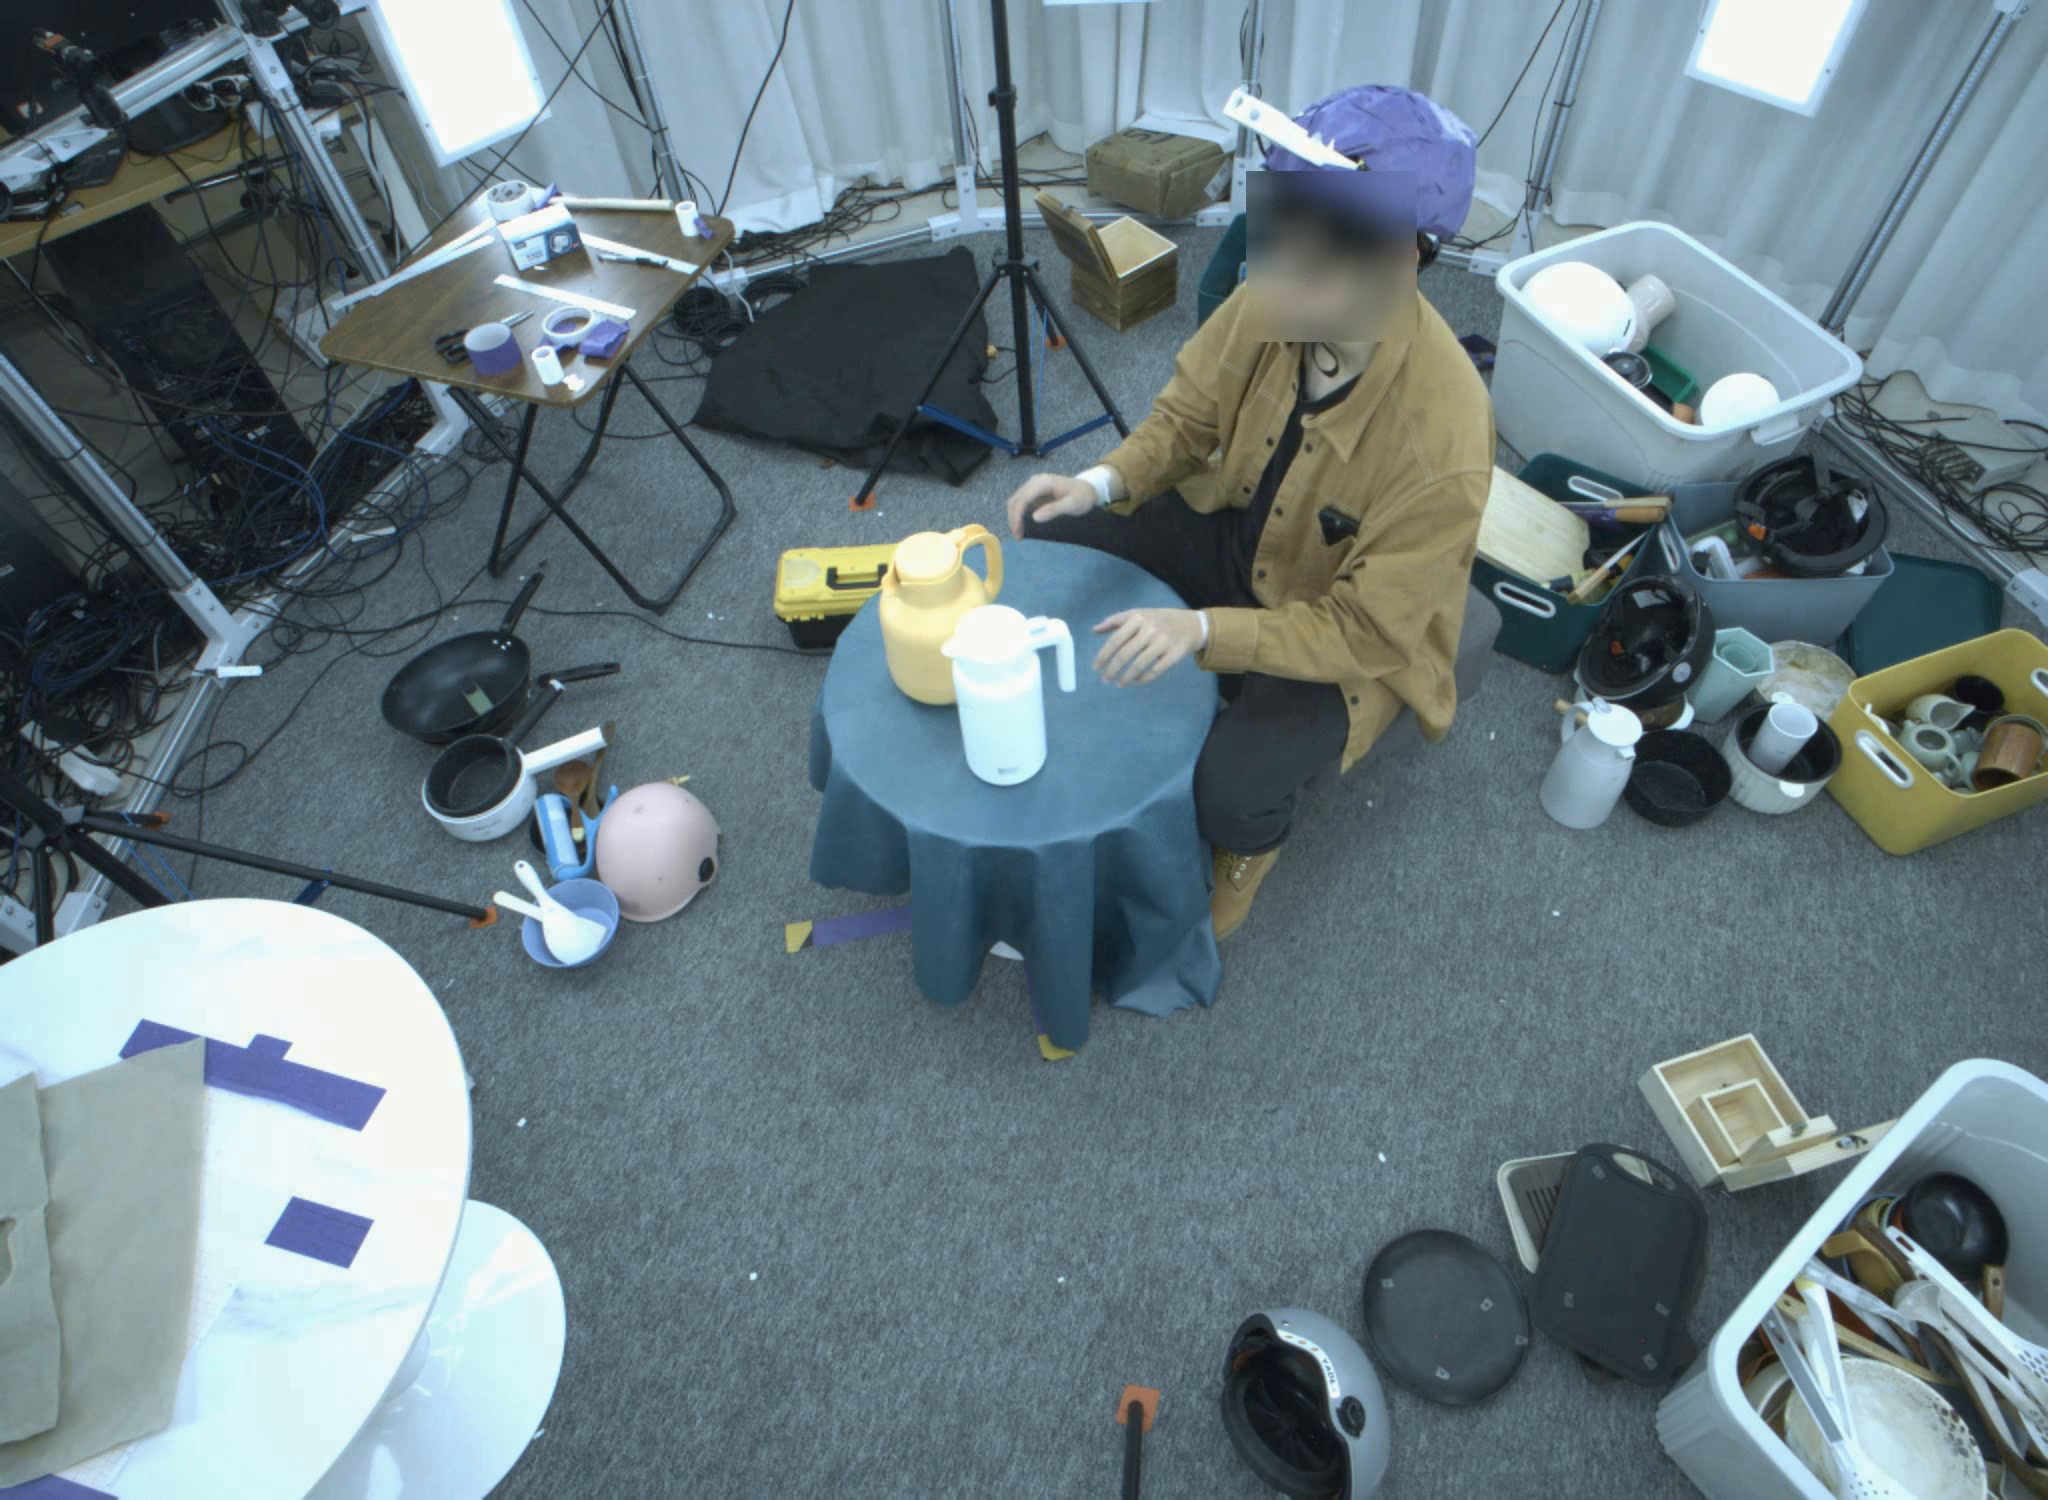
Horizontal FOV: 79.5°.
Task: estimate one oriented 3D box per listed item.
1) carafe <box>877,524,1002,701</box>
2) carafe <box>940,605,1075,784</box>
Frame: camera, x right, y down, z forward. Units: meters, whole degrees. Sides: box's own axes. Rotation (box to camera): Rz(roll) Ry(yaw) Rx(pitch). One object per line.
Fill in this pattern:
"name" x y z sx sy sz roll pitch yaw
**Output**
"carafe" -0.114 -0.208 1.772 0.204 0.263 0.160 -35 63 -18
"carafe" -0.017 -0.077 1.674 0.174 0.272 0.122 -15 53 -8
